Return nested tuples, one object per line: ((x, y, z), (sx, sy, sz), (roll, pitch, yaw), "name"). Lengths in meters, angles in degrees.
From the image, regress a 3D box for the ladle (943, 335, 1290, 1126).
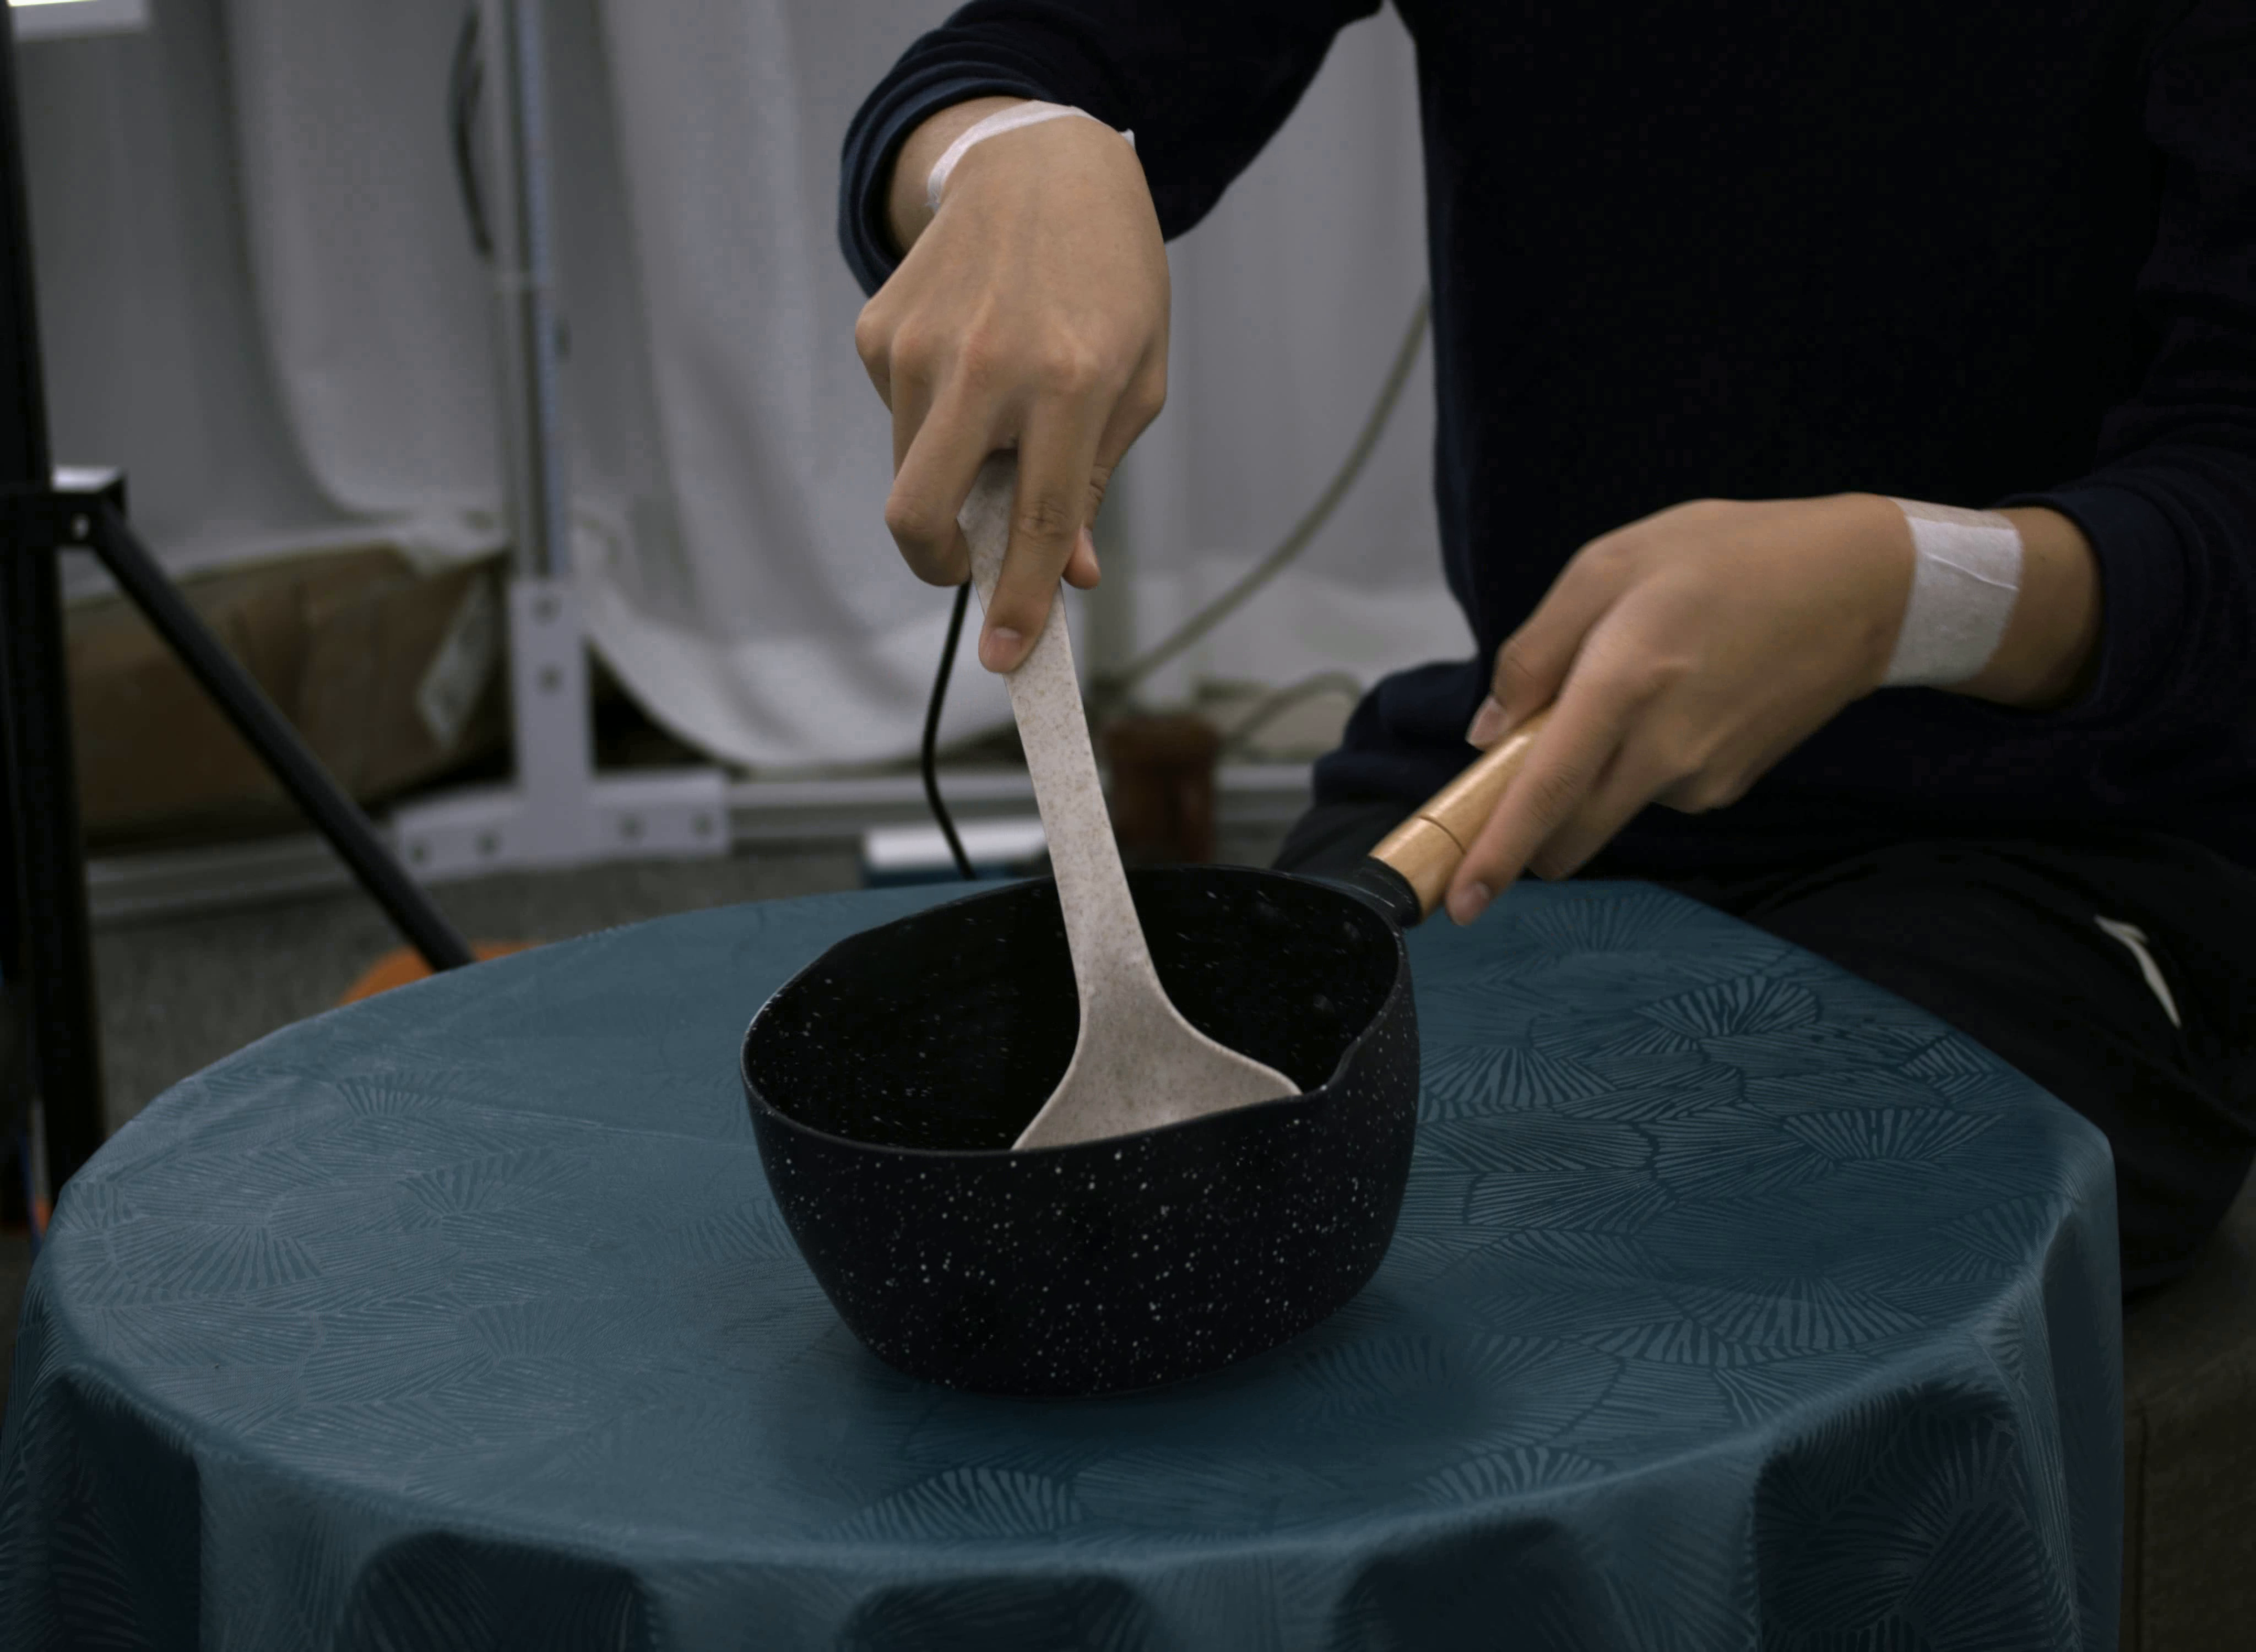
((-0.019, -0.014, 1.483), (0.090, 0.277, 0.068), (-17, -12, 12), "ladle")

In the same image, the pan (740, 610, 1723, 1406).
((0.049, 0.047, 1.489), (0.336, 0.108, 0.212), (-27, 26, -34), "pan")
